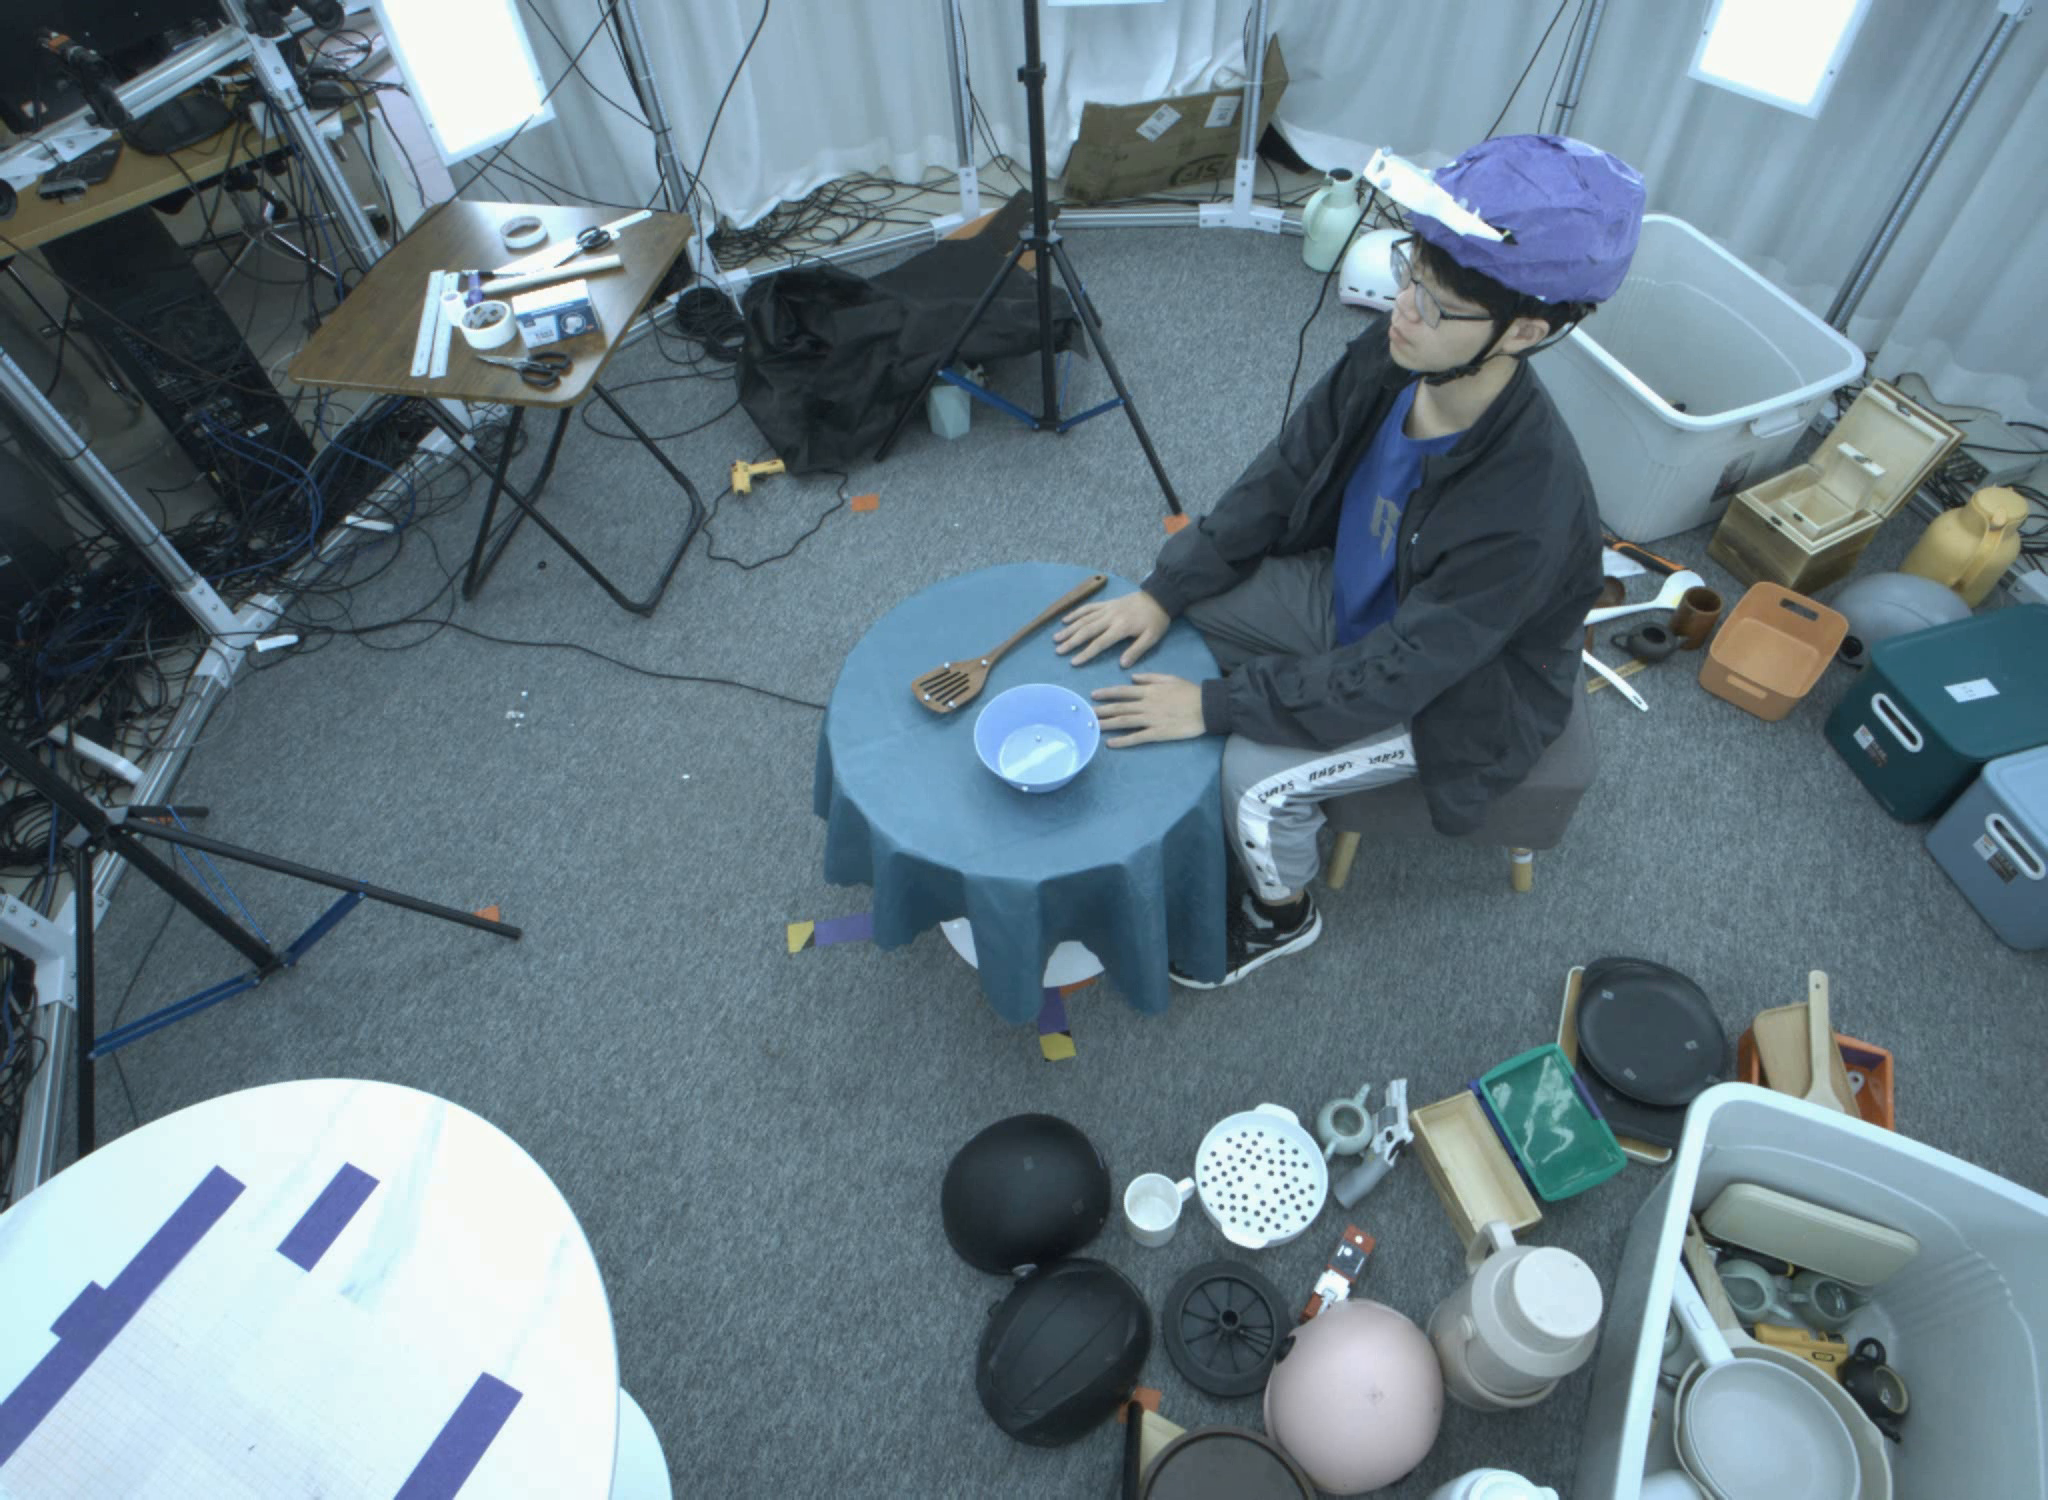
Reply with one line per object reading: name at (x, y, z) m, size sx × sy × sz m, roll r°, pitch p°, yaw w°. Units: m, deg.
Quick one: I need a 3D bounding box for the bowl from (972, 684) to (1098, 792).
bowl at (0.017, -0.006, 1.738) m, size 0.176 × 0.071 × 0.174 m, roll 0°, pitch 54°, yaw 1°

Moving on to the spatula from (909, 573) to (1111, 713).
spatula at (-0.009, -0.173, 1.890) m, size 0.390 × 0.024 × 0.084 m, roll -36°, pitch 62°, yaw -23°
